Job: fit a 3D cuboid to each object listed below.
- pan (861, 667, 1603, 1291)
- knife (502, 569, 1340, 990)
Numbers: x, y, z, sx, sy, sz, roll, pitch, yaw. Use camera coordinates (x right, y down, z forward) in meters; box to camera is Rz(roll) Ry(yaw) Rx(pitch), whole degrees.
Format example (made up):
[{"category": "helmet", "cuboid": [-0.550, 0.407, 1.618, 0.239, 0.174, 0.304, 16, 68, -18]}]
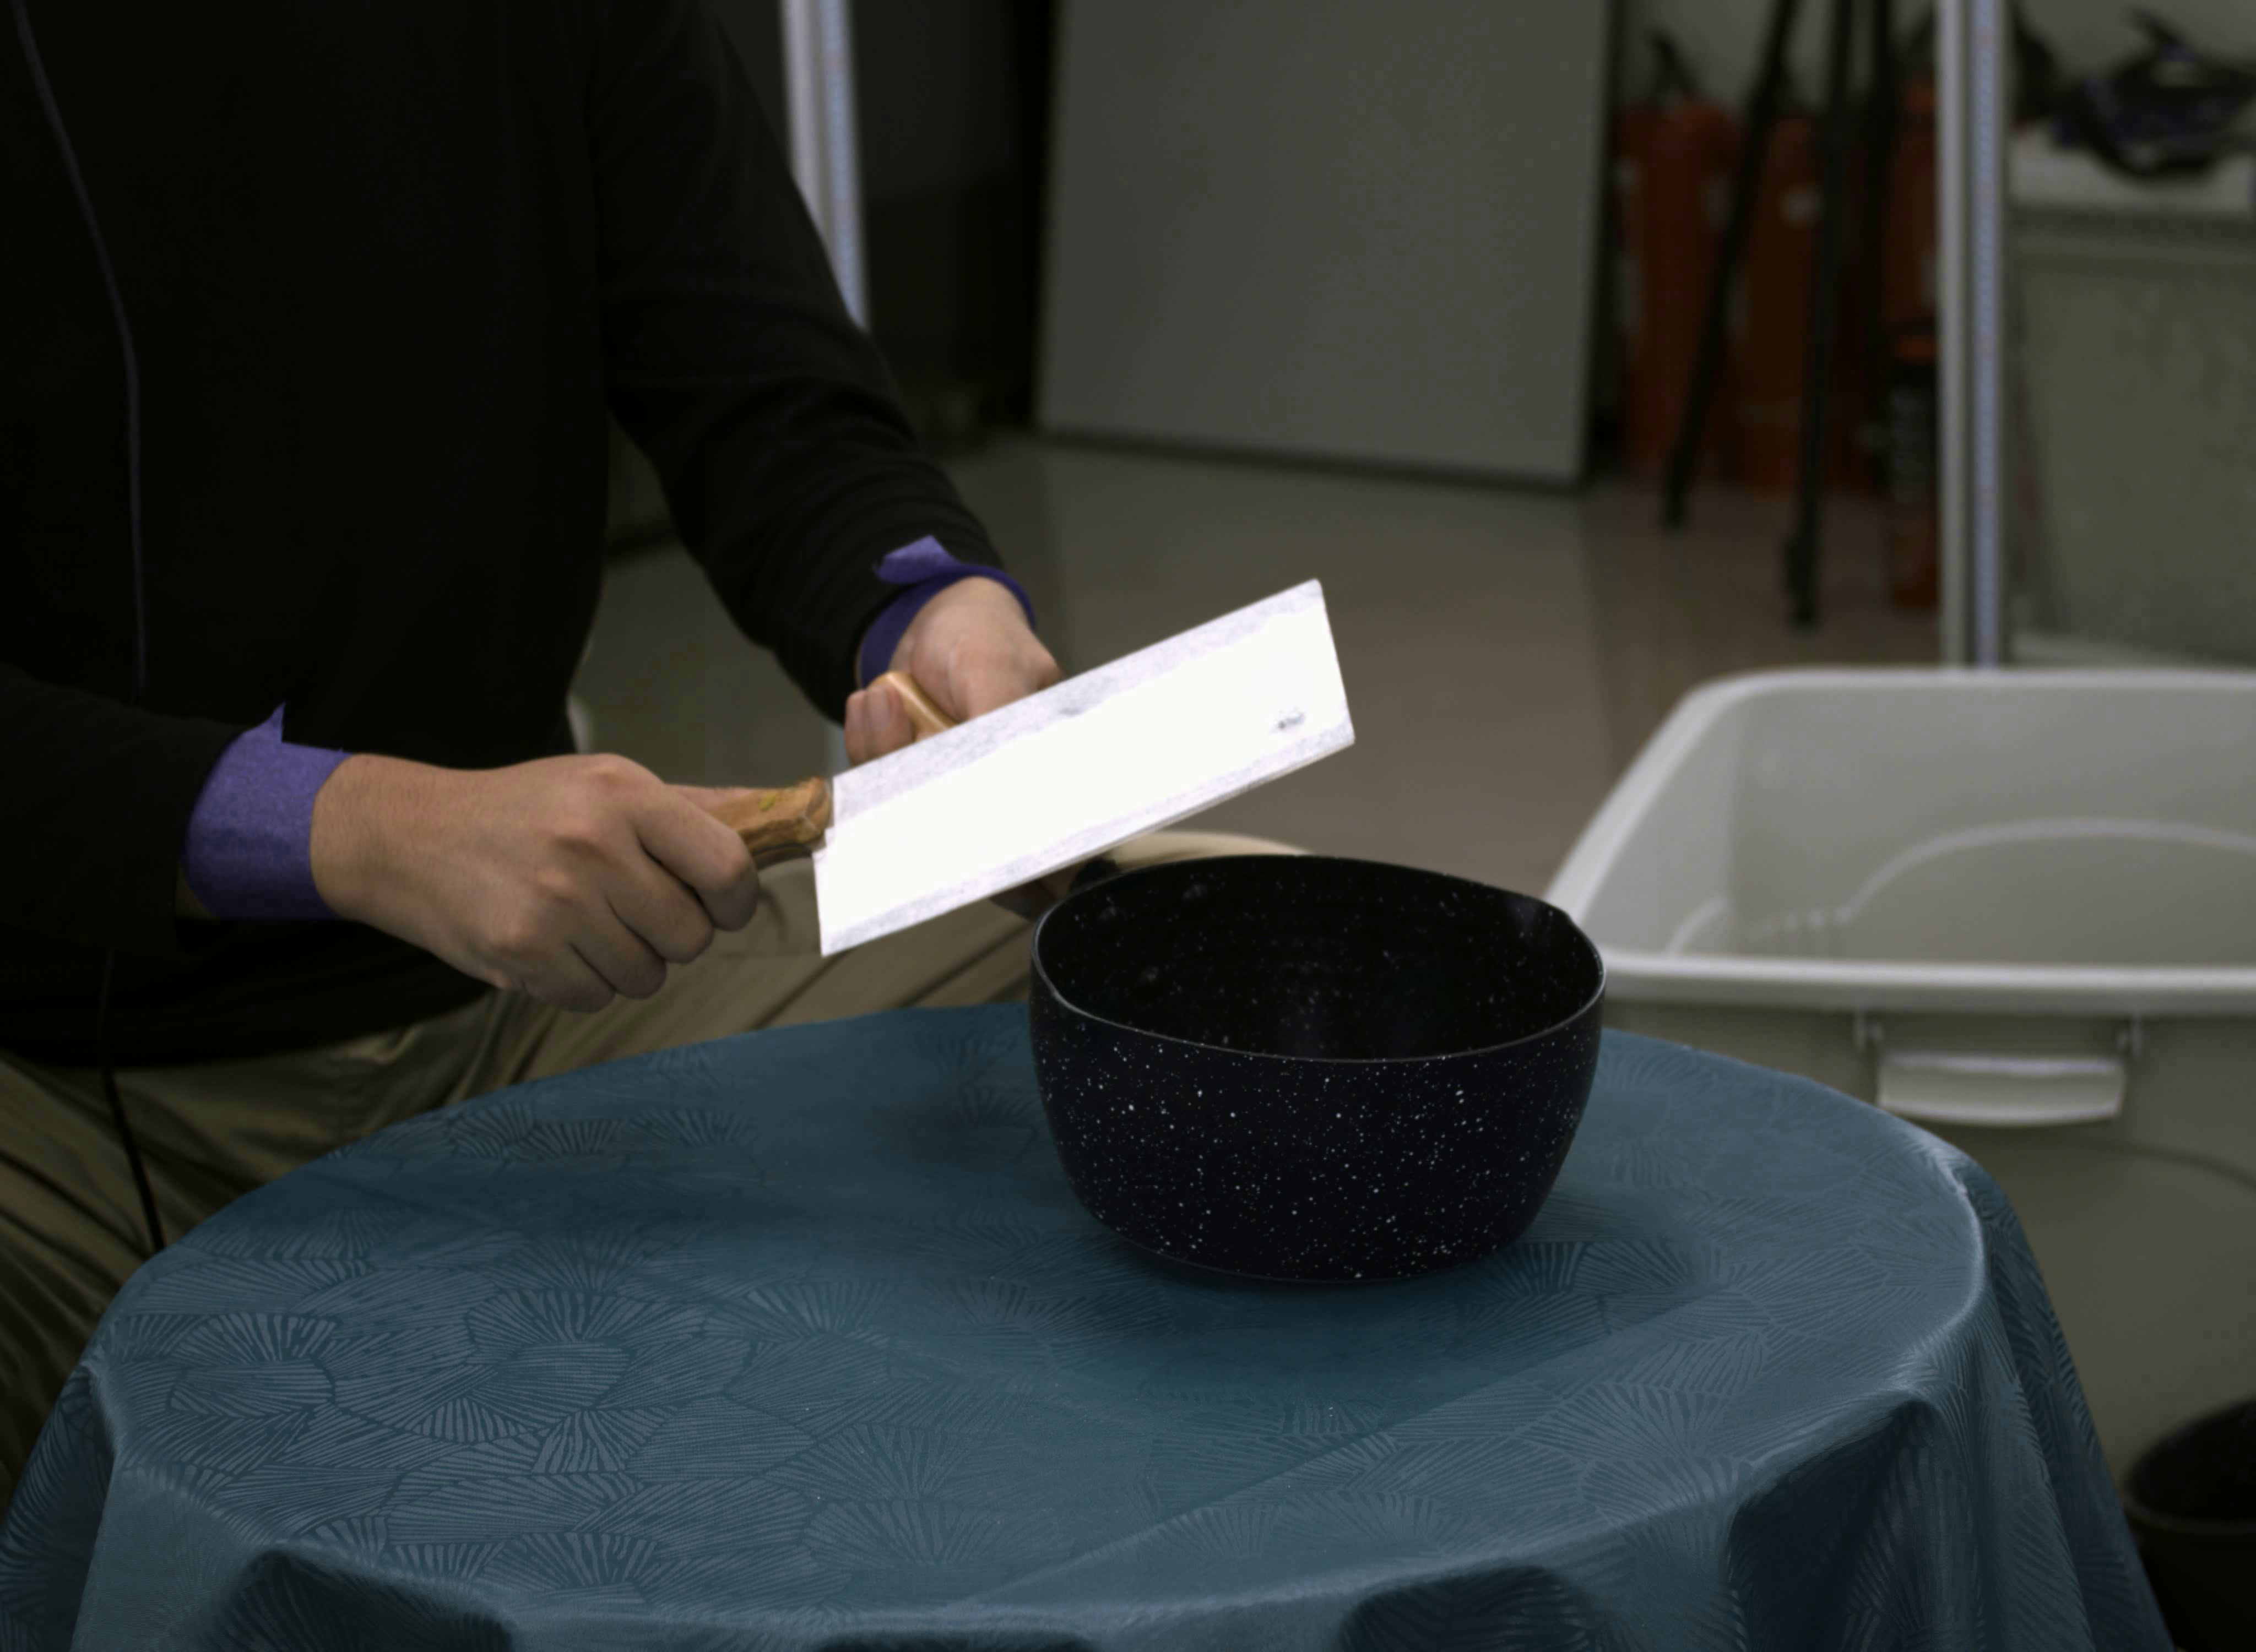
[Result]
[{"category": "pan", "cuboid": [0.010, 0.046, 1.774, 0.203, 0.109, 0.346, -12, 24, -35]}, {"category": "knife", "cuboid": [-0.070, -0.001, 1.781, 0.304, 0.021, 0.094, -23, 37, 11]}]
